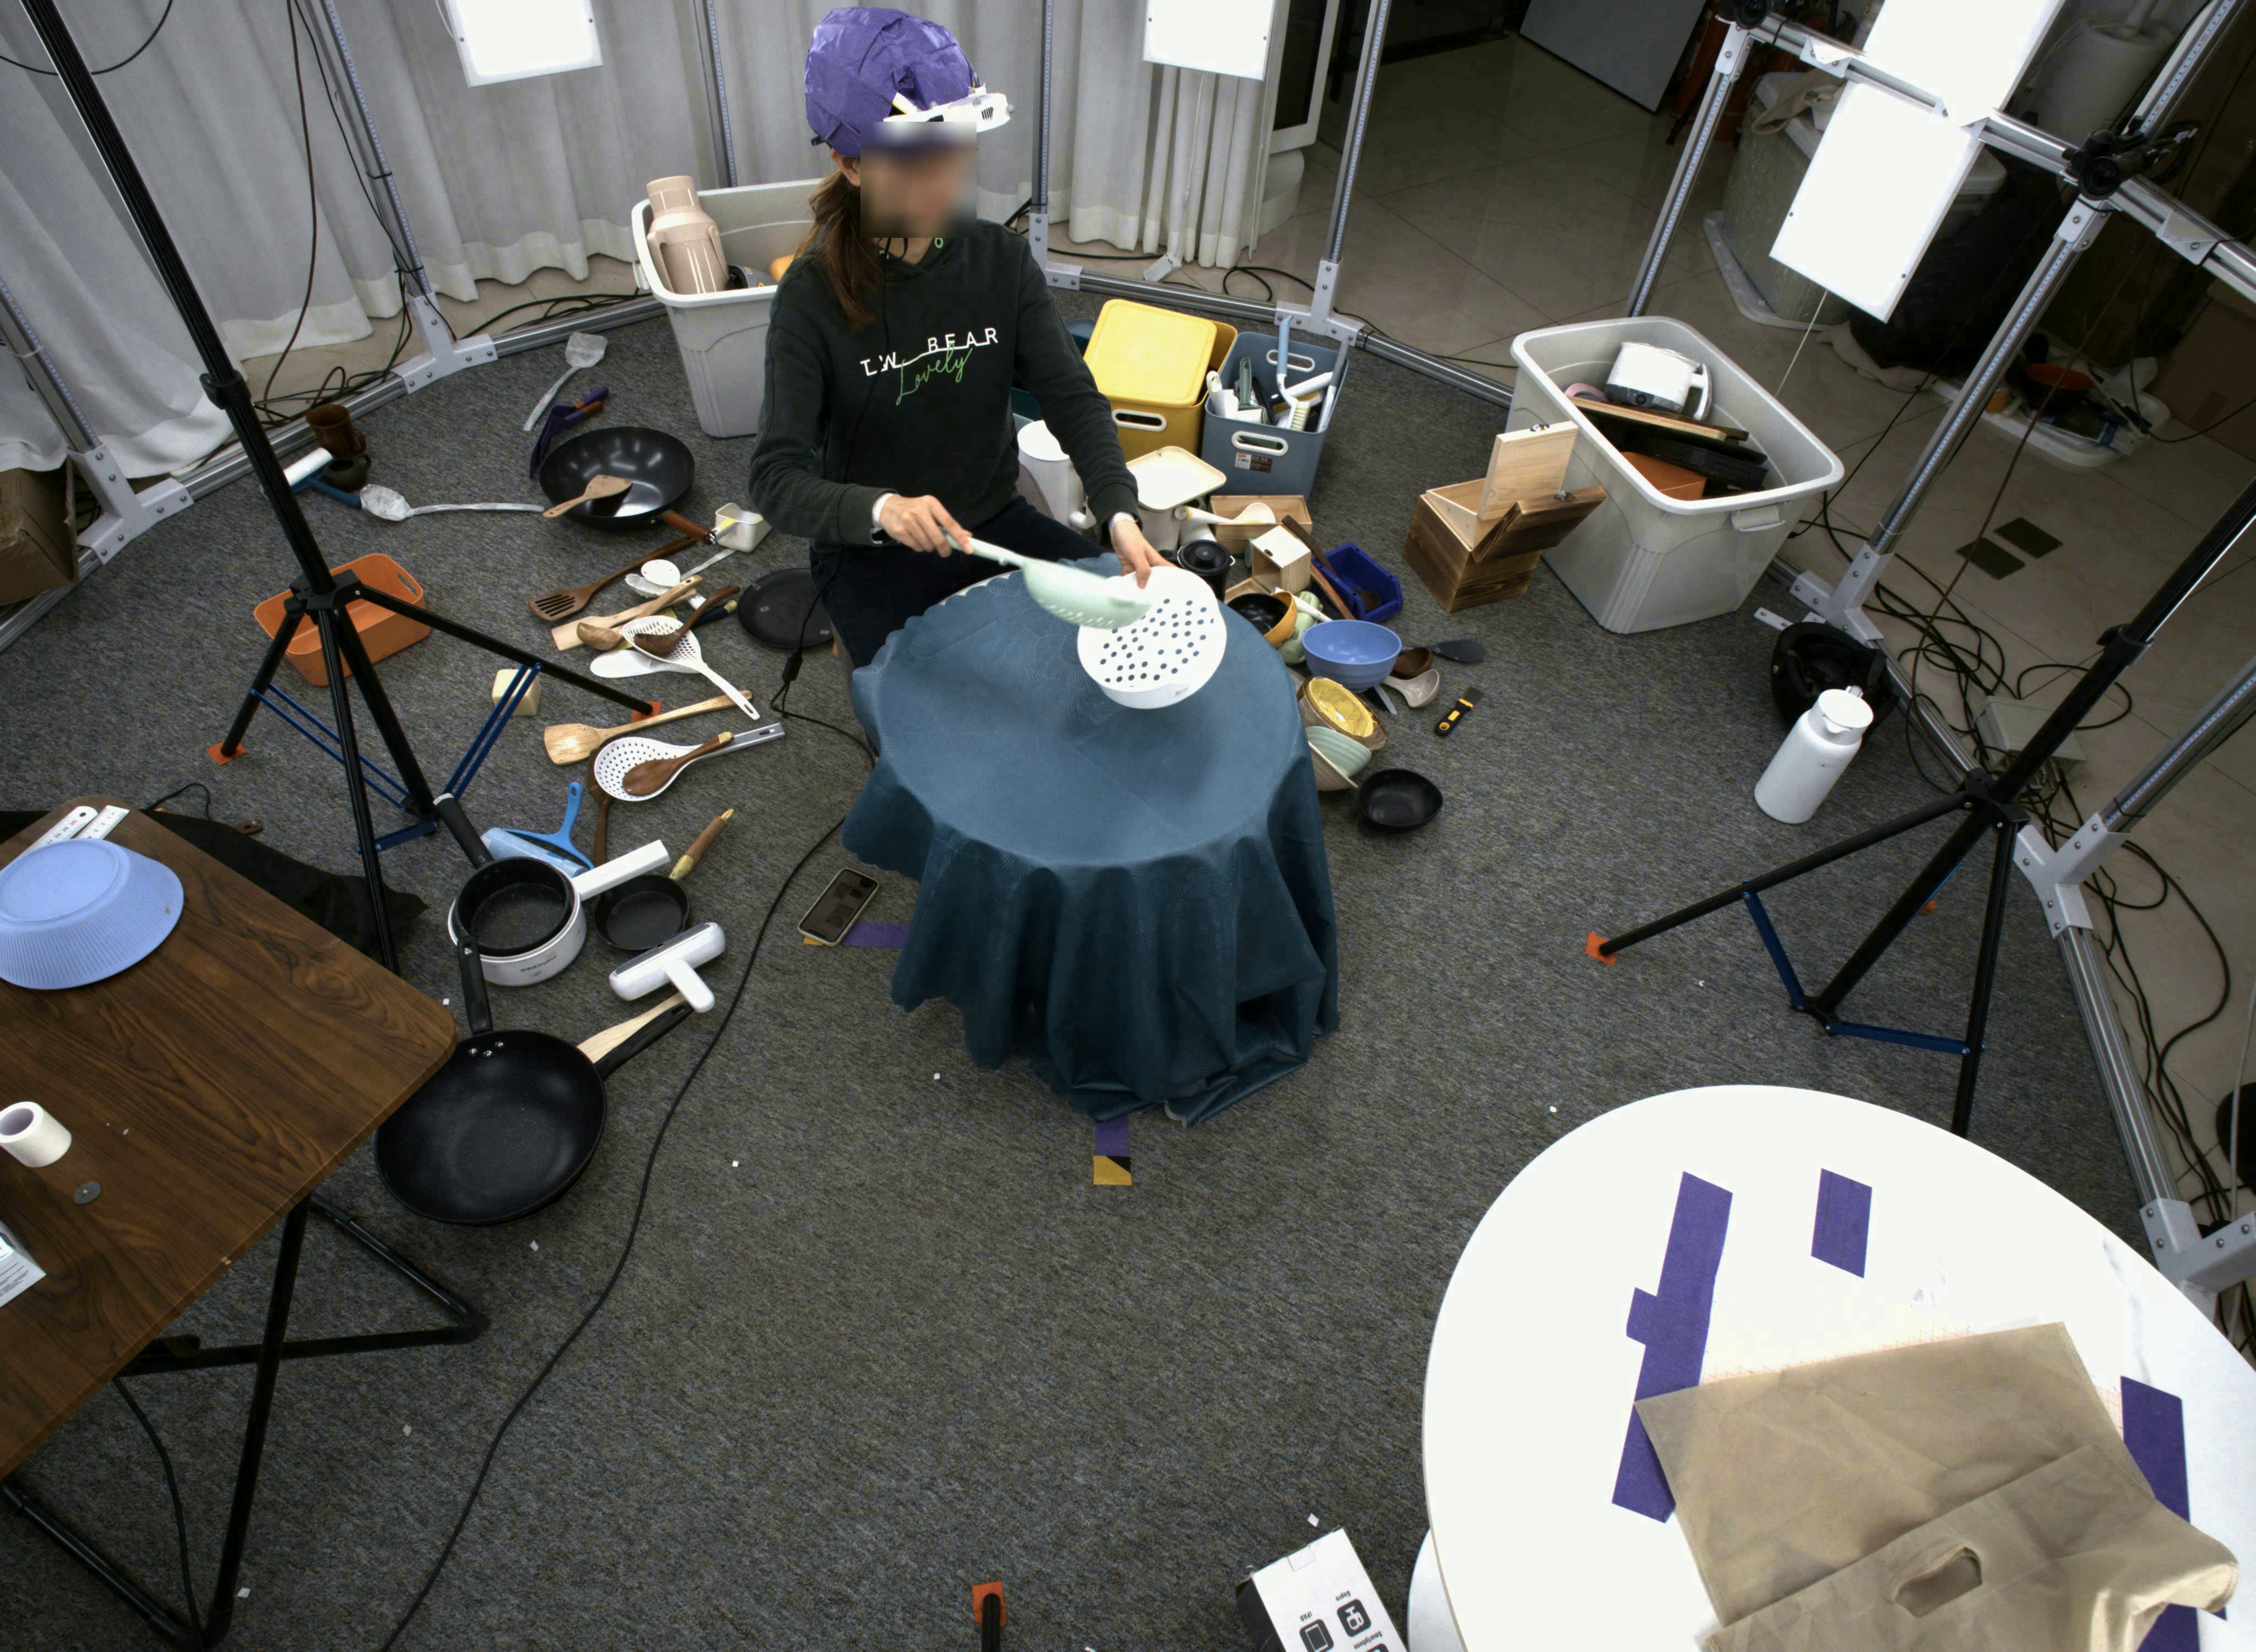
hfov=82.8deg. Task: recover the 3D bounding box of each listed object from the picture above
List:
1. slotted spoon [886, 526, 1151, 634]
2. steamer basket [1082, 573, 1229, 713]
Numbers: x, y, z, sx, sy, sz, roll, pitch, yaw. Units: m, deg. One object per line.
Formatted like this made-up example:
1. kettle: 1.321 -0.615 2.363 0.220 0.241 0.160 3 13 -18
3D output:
1. slotted spoon: -0.145 -0.328 1.656 0.361 0.075 0.170 28 13 10
2. steamer basket: 0.040 -0.249 1.763 0.202 0.068 0.235 -44 55 -8
